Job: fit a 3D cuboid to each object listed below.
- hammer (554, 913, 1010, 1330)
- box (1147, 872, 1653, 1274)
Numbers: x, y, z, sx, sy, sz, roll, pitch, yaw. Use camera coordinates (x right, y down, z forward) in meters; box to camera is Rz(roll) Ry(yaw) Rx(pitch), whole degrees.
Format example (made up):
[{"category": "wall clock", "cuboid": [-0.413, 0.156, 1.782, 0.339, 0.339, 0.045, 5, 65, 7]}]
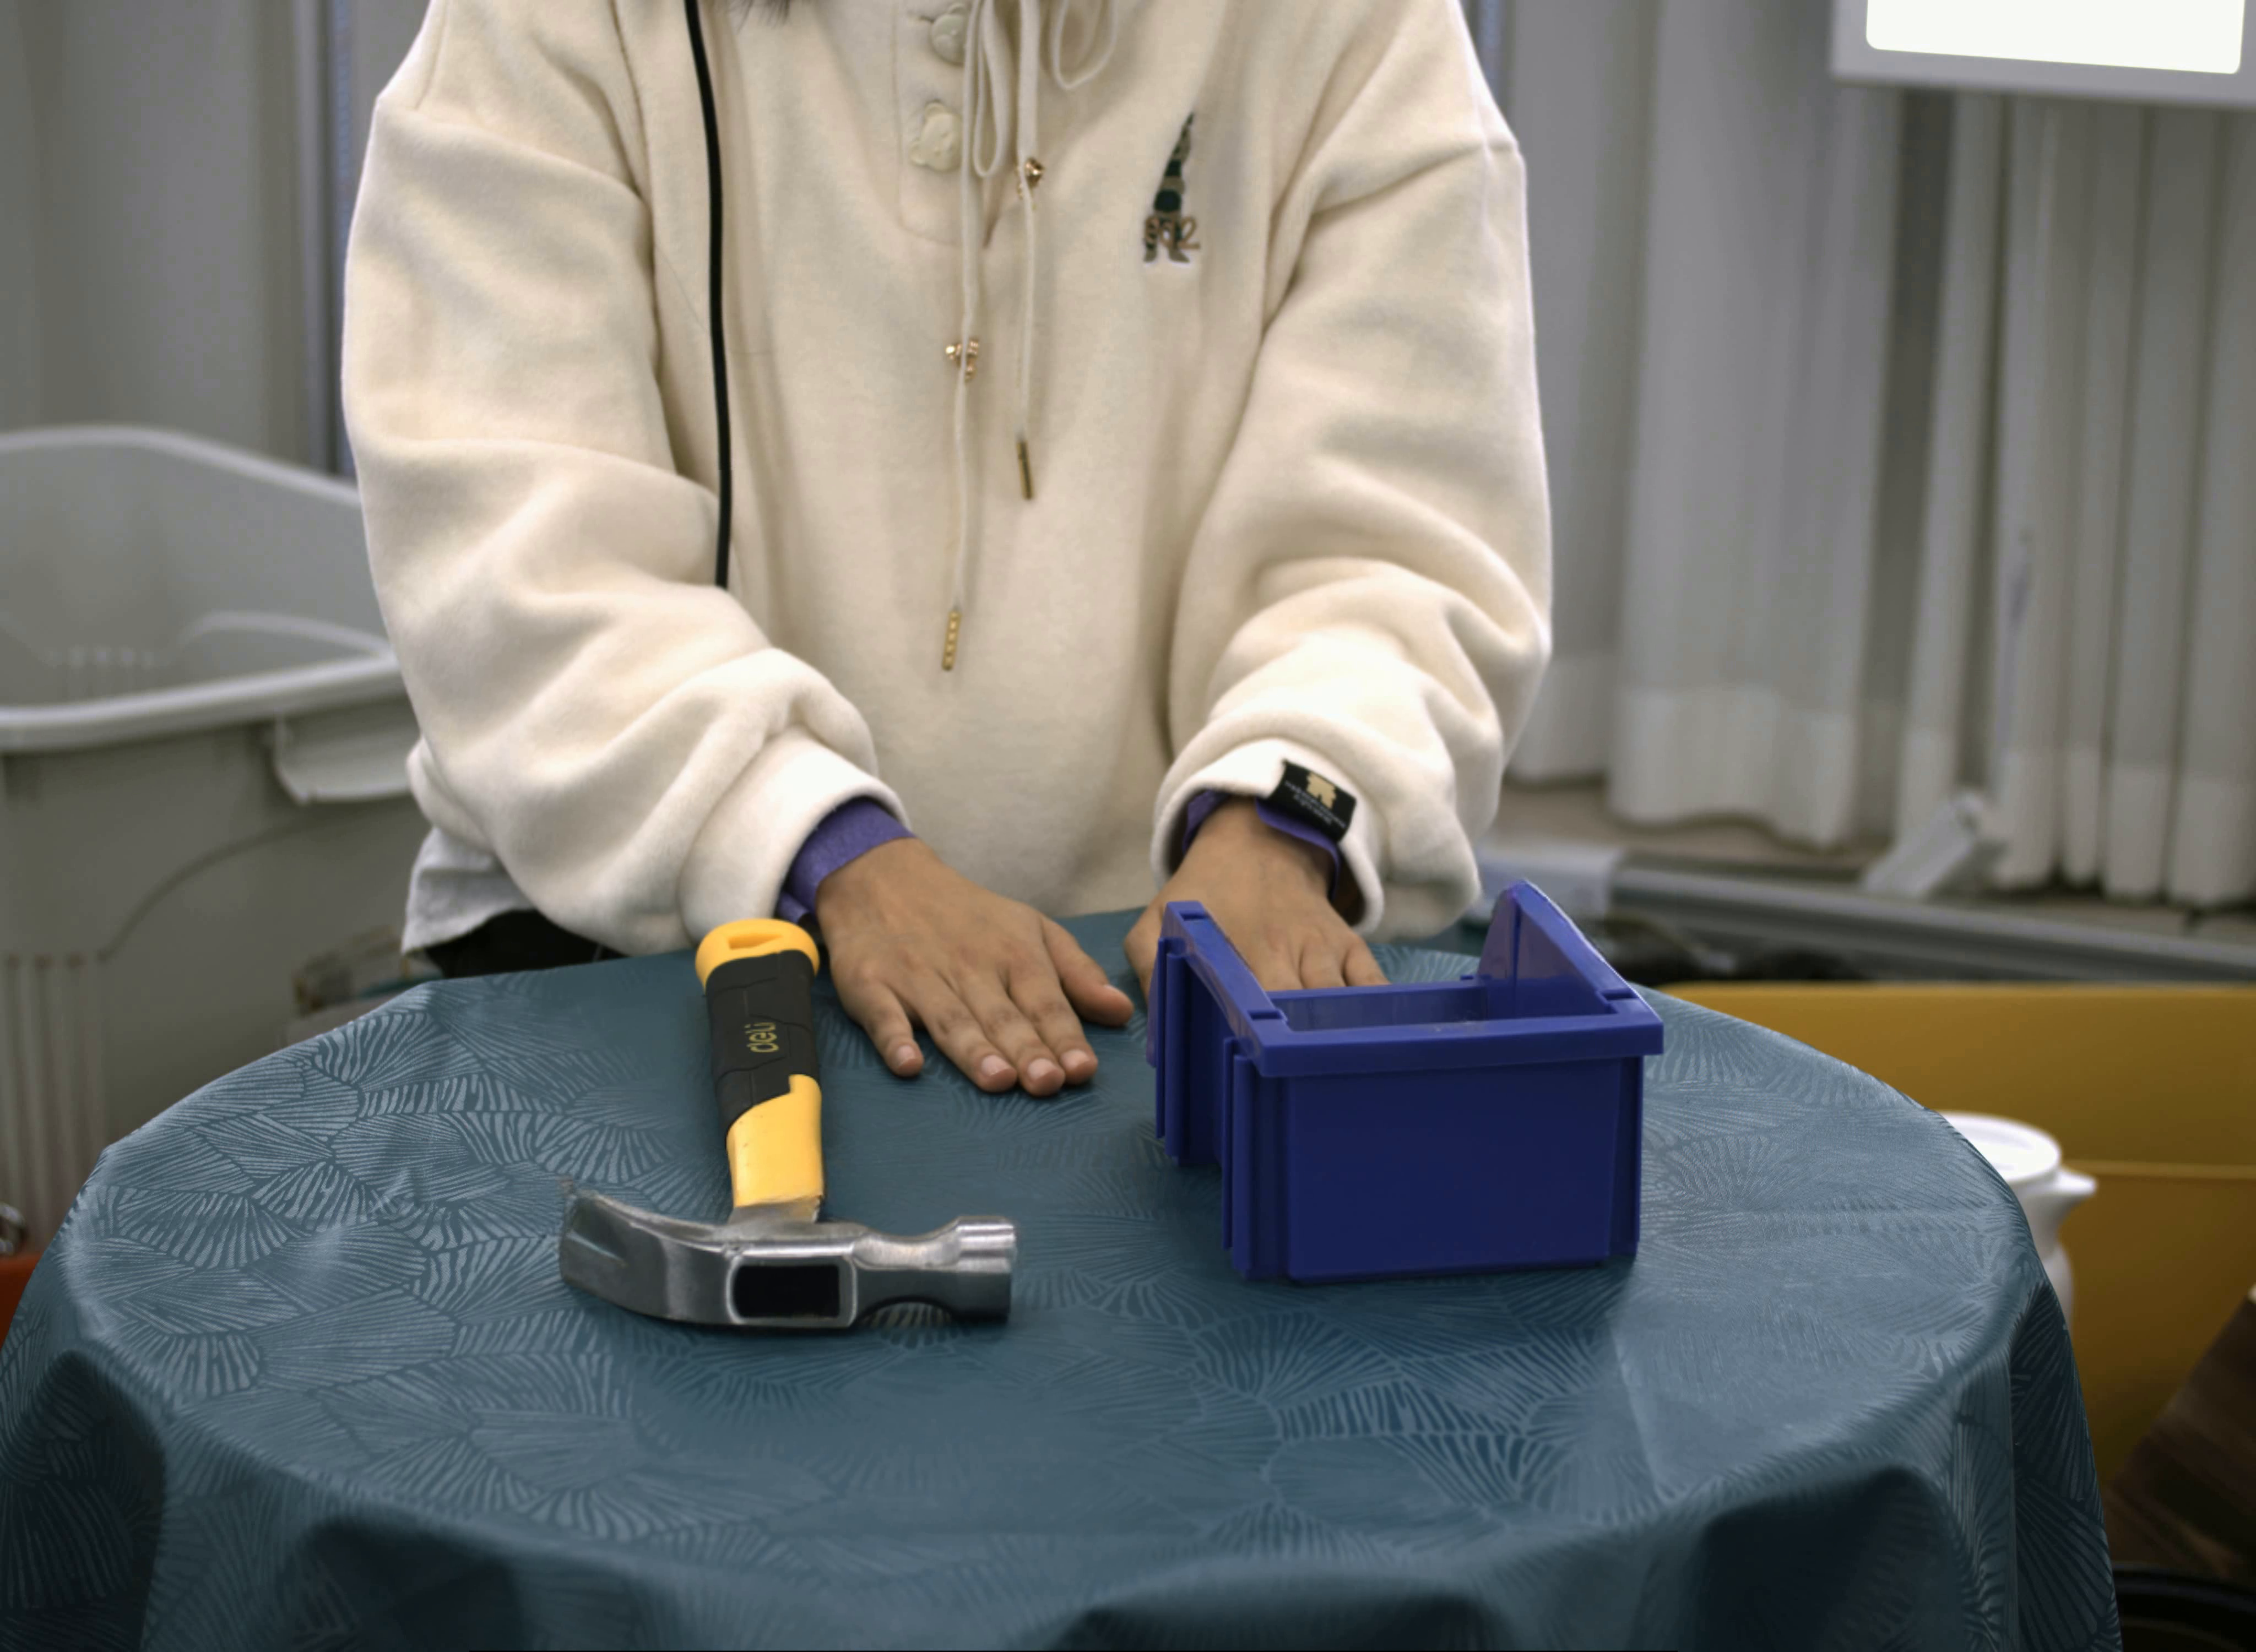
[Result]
[{"category": "hammer", "cuboid": [-0.111, 0.085, 1.651, 0.131, 0.032, 0.336, -2, 16, -4]}, {"category": "box", "cuboid": [0.077, 0.072, 1.619, 0.124, 0.082, 0.178, -3, 18, -10]}]
